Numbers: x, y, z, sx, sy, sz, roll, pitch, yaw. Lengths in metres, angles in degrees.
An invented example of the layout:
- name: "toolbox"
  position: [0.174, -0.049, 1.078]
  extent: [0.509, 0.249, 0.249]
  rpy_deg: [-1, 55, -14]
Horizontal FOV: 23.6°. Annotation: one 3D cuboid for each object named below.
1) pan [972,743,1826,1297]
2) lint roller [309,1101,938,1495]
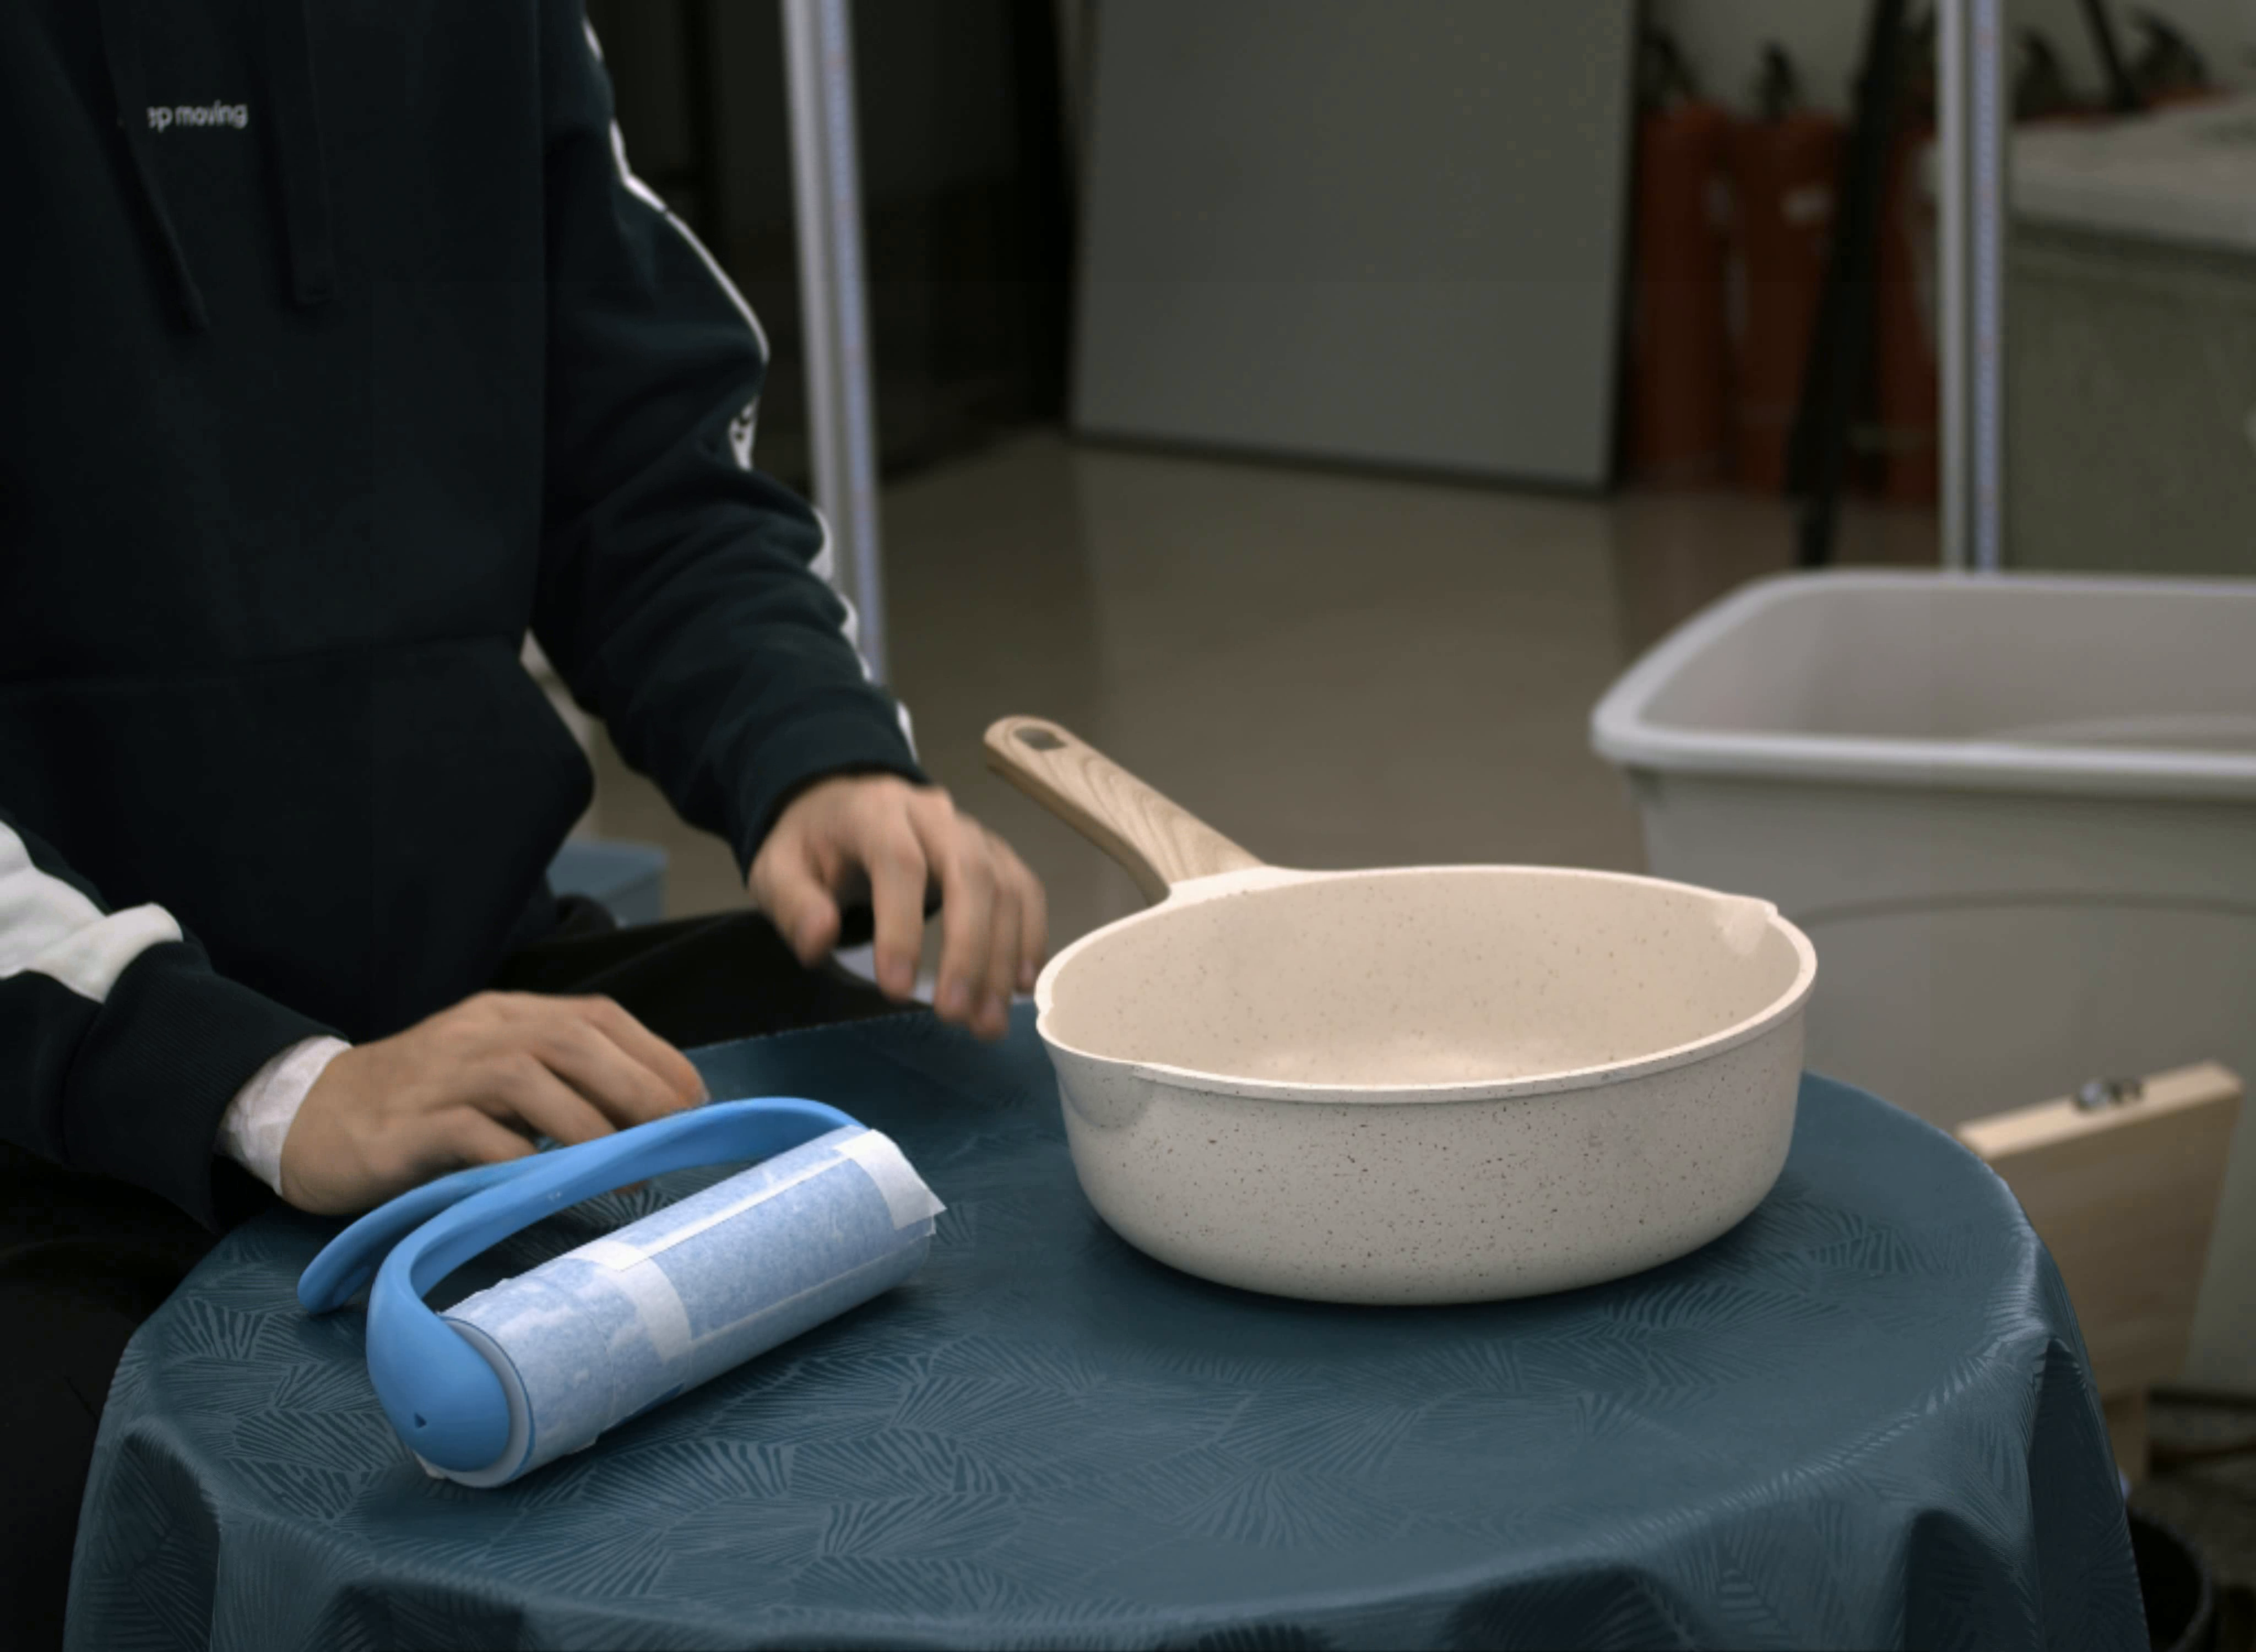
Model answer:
- name: "pan"
  position: [0.058, 0.058, 1.802]
  extent: [0.258, 0.103, 0.439]
  rpy_deg: [-12, 16, -25]
- name: "lint roller"
  position: [-0.182, 0.136, 1.645]
  extent: [0.181, 0.068, 0.225]
  rpy_deg: [6, 18, 33]
